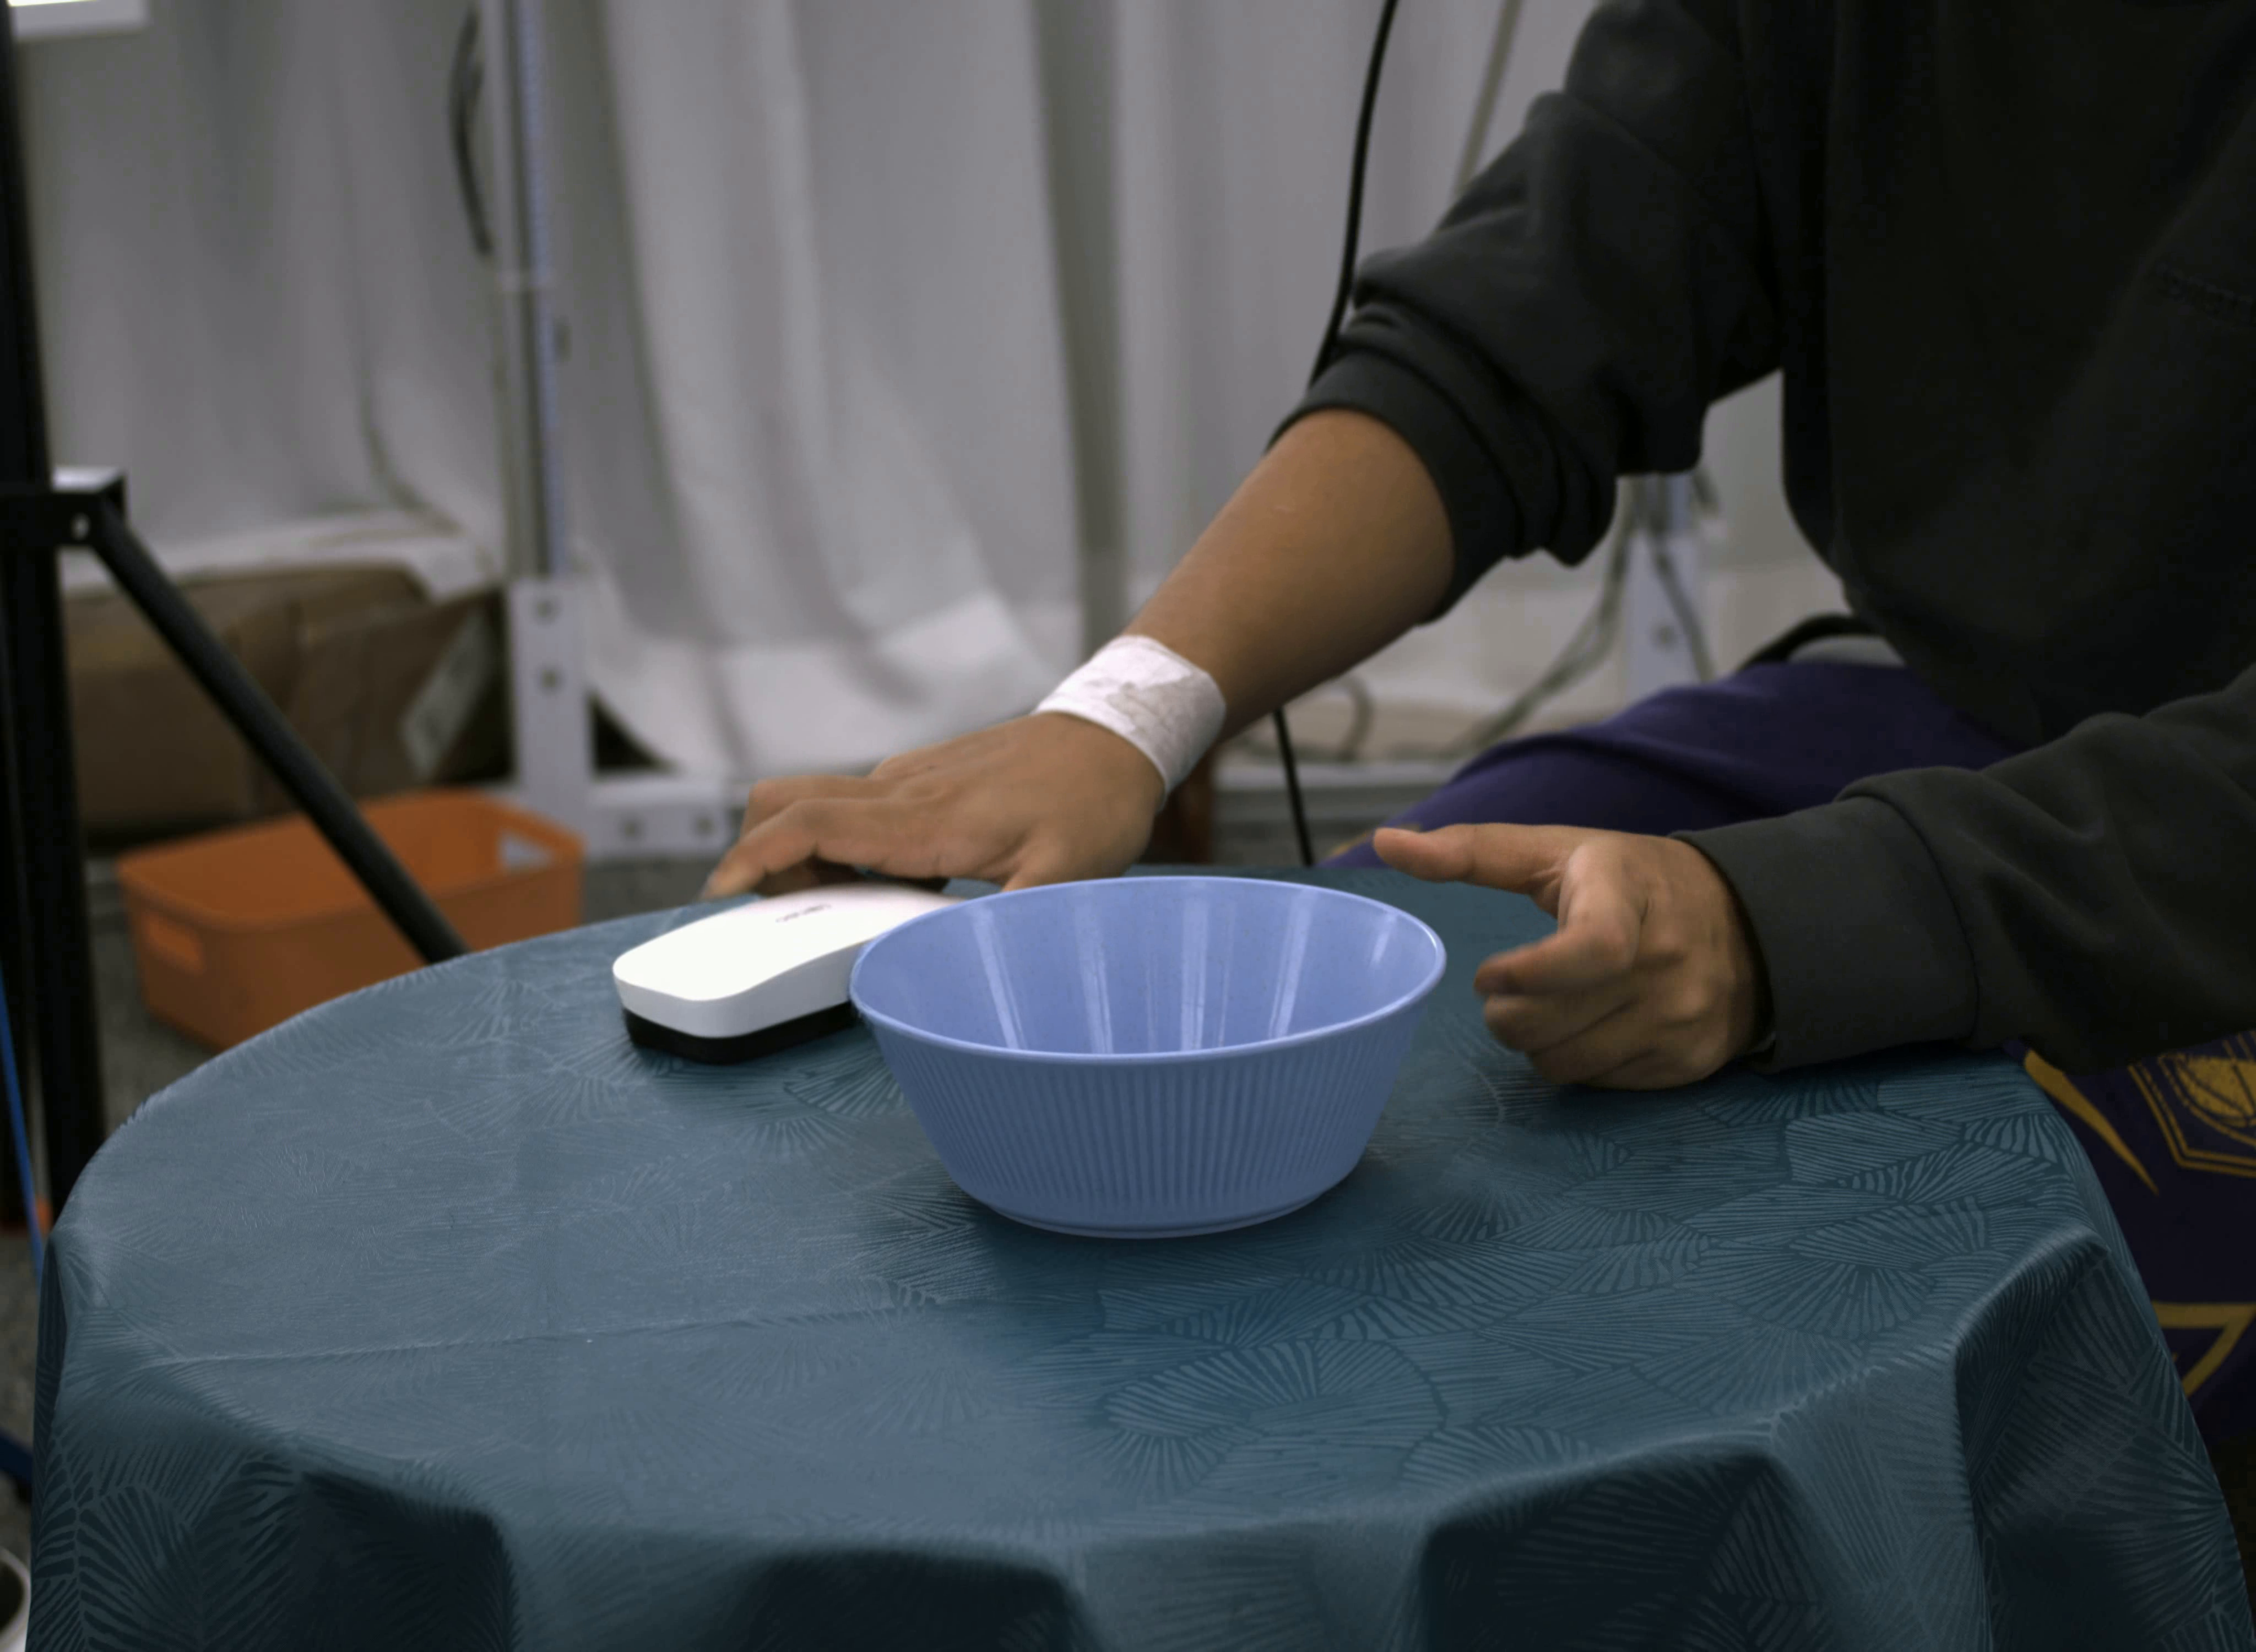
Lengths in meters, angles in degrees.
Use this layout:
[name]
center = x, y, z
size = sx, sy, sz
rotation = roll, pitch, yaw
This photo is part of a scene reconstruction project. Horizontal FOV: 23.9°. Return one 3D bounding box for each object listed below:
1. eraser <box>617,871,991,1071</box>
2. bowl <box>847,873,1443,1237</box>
[eraser]
center = -0.102, 0.044, 1.743
size = 0.128, 0.034, 0.065
rotation = -18, 24, -38
[bowl]
center = 0.006, 0.070, 1.564
size = 0.175, 0.070, 0.177
rotation = -3, 16, -1
